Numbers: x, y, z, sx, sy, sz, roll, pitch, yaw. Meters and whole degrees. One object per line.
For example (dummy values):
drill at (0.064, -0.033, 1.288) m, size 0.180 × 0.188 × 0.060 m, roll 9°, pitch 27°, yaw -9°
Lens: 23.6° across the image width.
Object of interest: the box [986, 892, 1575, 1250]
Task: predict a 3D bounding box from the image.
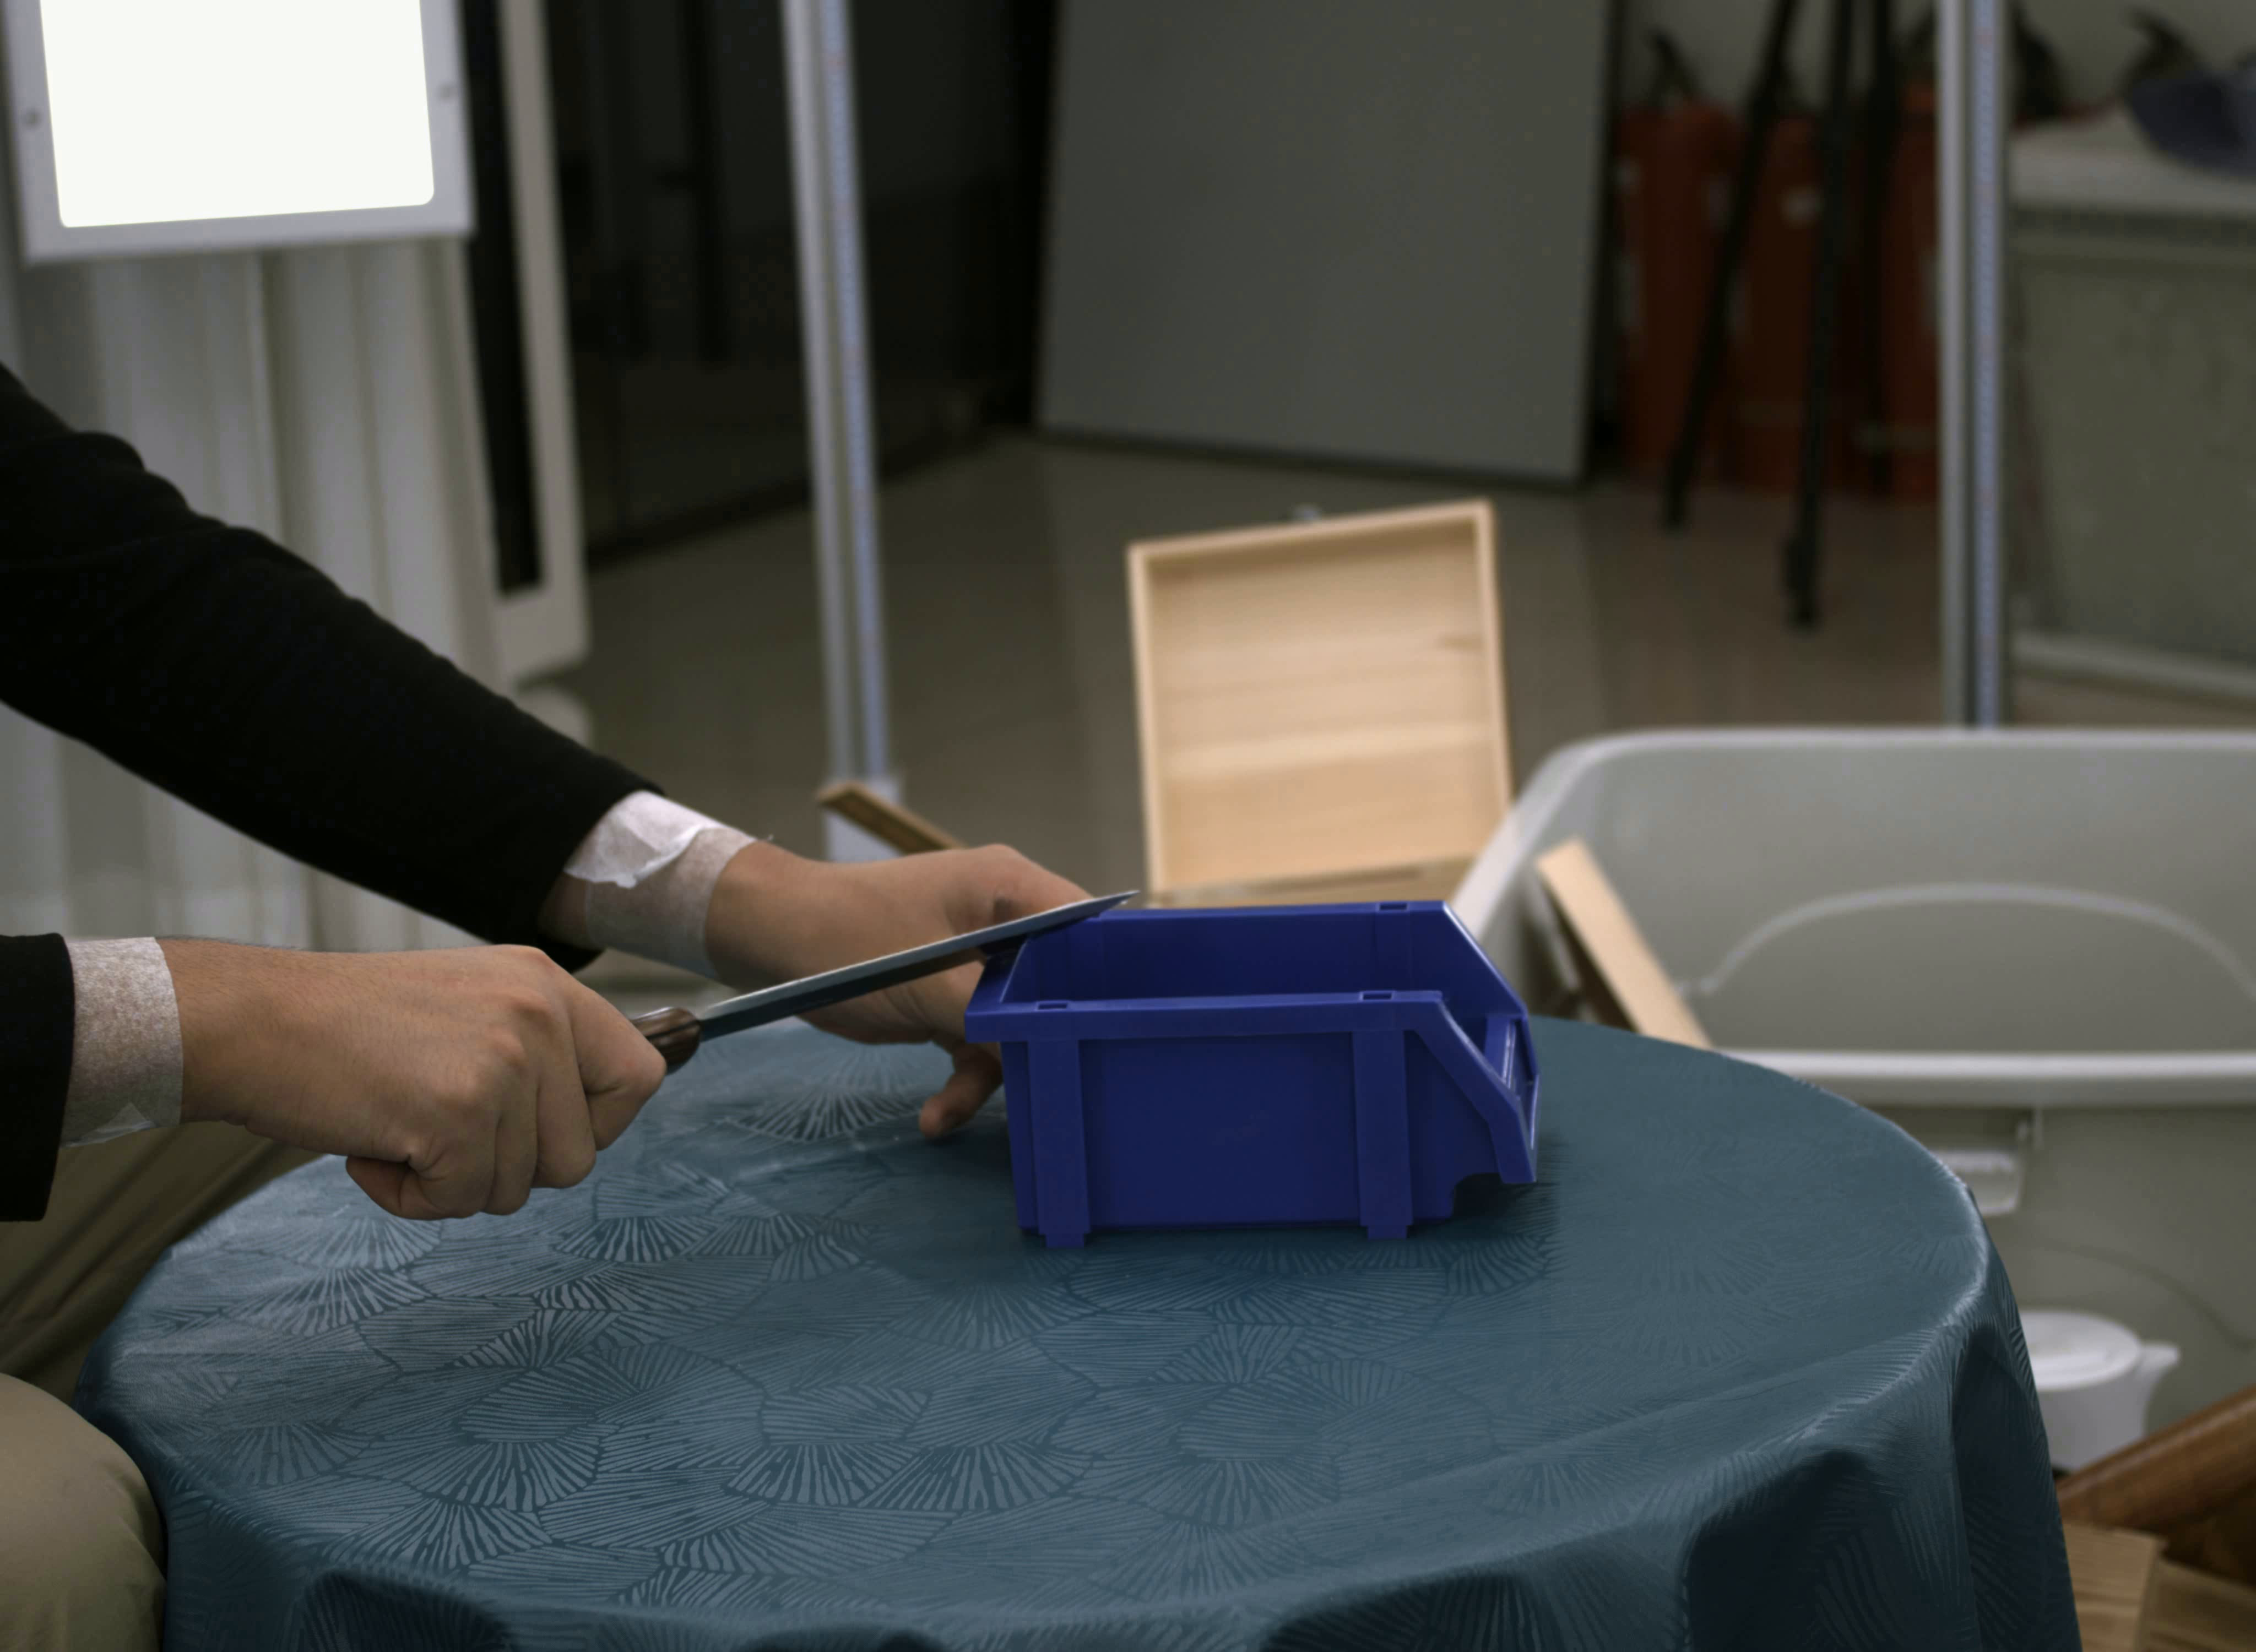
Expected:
box at (0.054, 0.078, 1.758) m, size 0.178 × 0.083 × 0.124 m, roll -4°, pitch 13°, yaw 10°

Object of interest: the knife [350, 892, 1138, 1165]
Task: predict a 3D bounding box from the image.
knife at (-0.114, 0.058, 1.698) m, size 0.283 × 0.020 × 0.051 m, roll -17°, pitch -12°, yaw -31°
